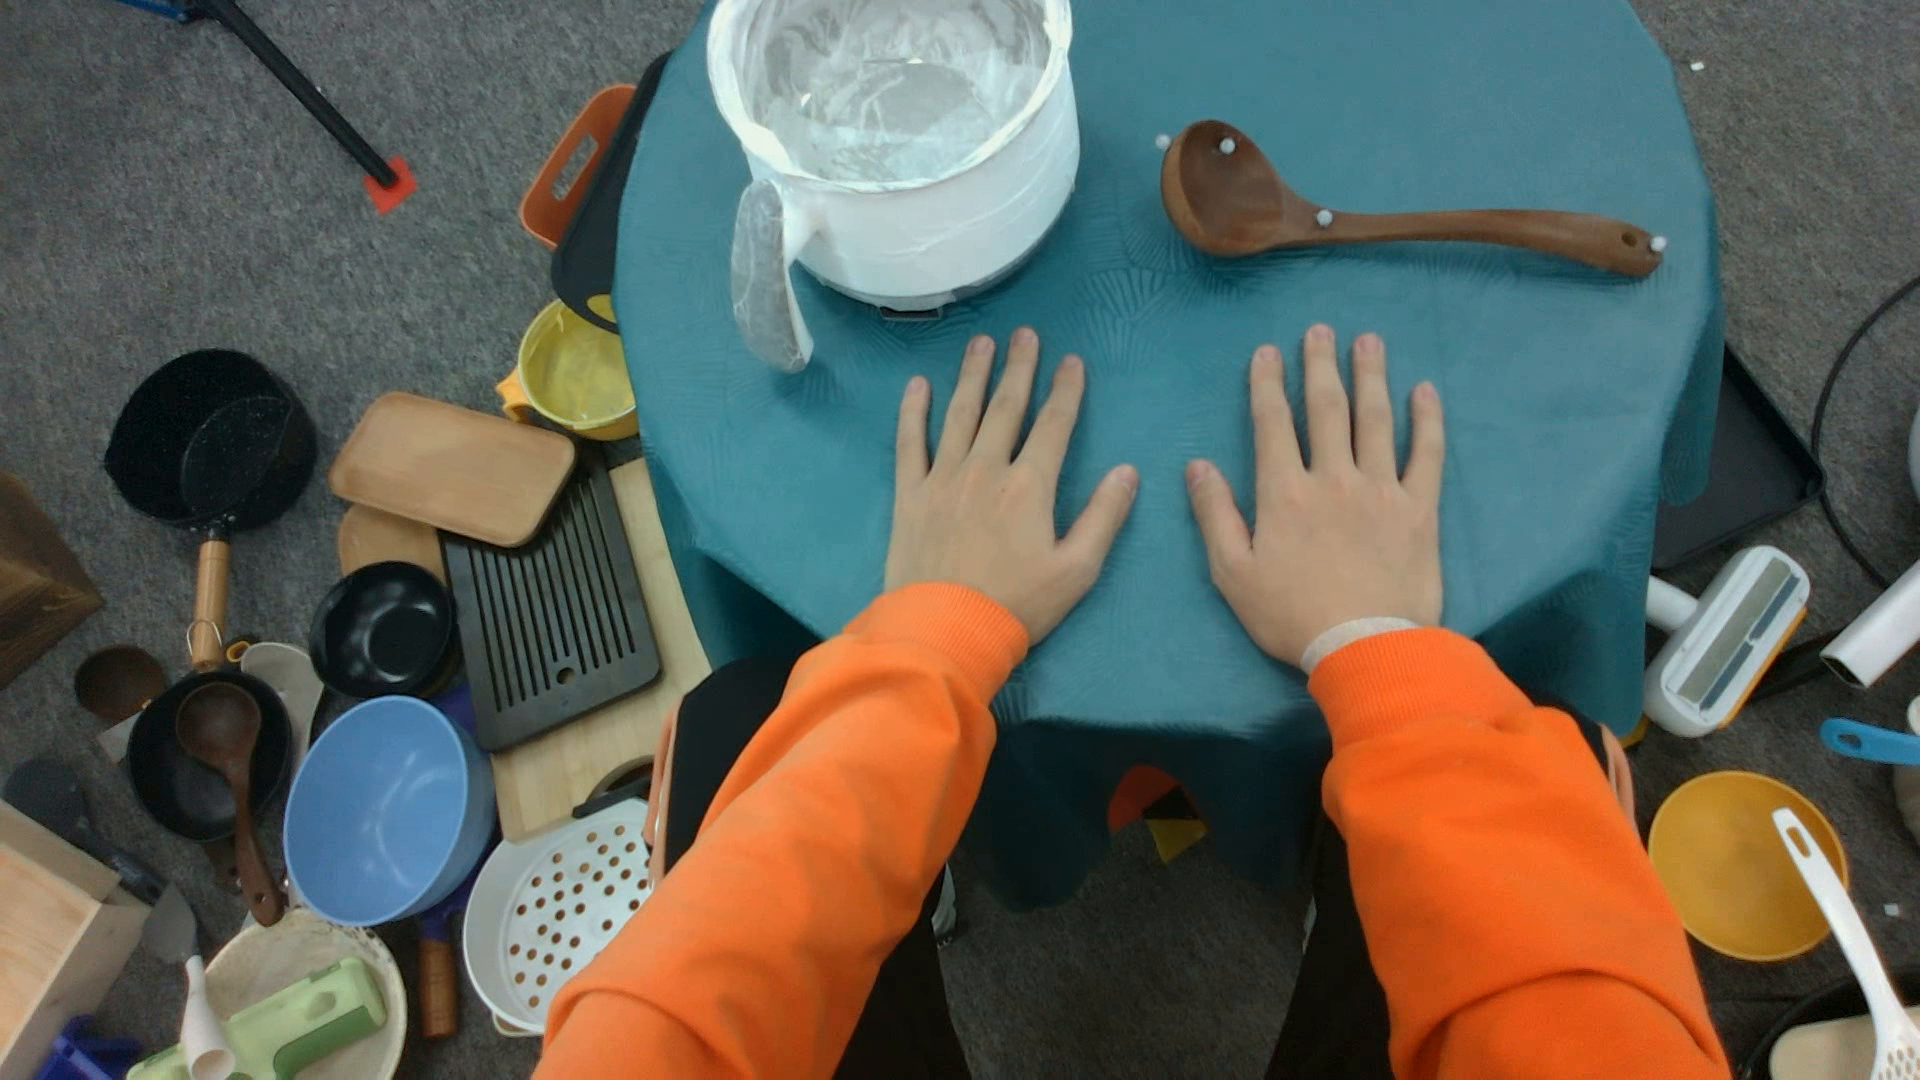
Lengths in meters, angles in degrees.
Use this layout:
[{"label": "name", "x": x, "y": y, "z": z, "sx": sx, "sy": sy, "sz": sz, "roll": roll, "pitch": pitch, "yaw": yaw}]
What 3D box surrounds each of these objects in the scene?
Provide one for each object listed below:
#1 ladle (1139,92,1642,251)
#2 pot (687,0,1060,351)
[{"label": "ladle", "x": 0.222, "y": -0.184, "z": 0.710, "sx": 0.260, "sy": 0.065, "sz": 0.076, "roll": 8, "pitch": 76, "yaw": 10}, {"label": "pot", "x": -0.052, "y": -0.211, "z": 0.713, "sx": 0.178, "sy": 0.136, "sz": 0.234, "roll": 29, "pitch": 77, "yaw": 15}]
